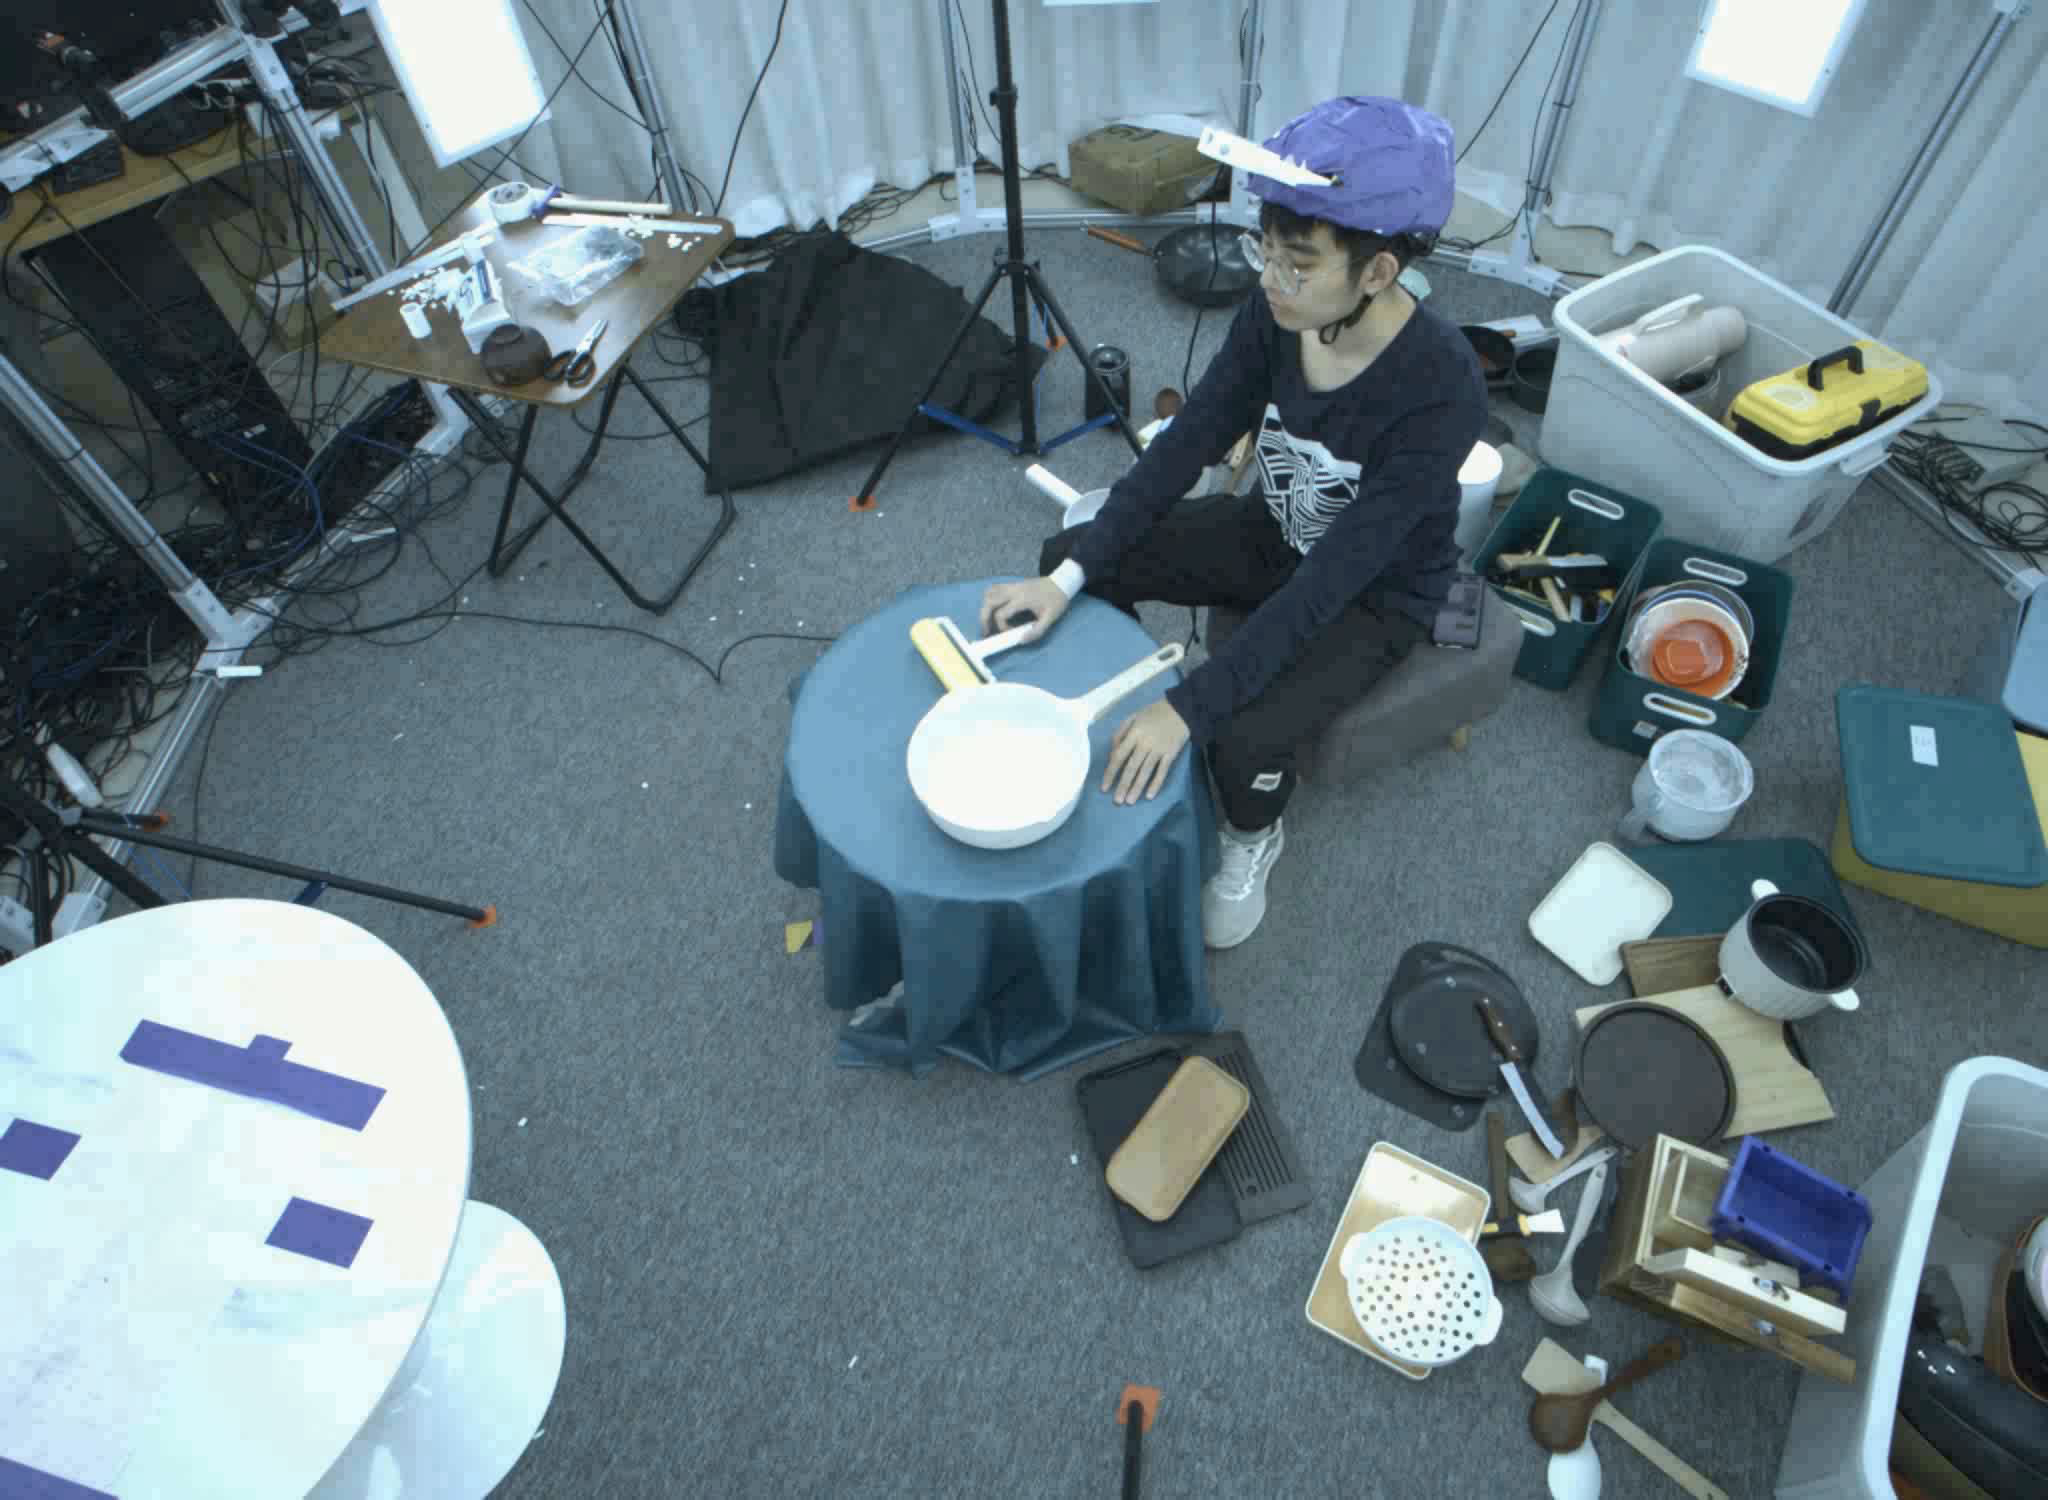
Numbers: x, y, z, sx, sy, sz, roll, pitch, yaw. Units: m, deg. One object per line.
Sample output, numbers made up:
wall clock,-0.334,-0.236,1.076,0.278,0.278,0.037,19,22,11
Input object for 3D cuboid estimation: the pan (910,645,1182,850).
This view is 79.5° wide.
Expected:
pan,0.047,-0.016,1.745,0.438,0.103,0.258,-28,56,-18

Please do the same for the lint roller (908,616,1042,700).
lint roller,-0.058,-0.166,1.887,0.194,0.052,0.171,-26,58,-18
